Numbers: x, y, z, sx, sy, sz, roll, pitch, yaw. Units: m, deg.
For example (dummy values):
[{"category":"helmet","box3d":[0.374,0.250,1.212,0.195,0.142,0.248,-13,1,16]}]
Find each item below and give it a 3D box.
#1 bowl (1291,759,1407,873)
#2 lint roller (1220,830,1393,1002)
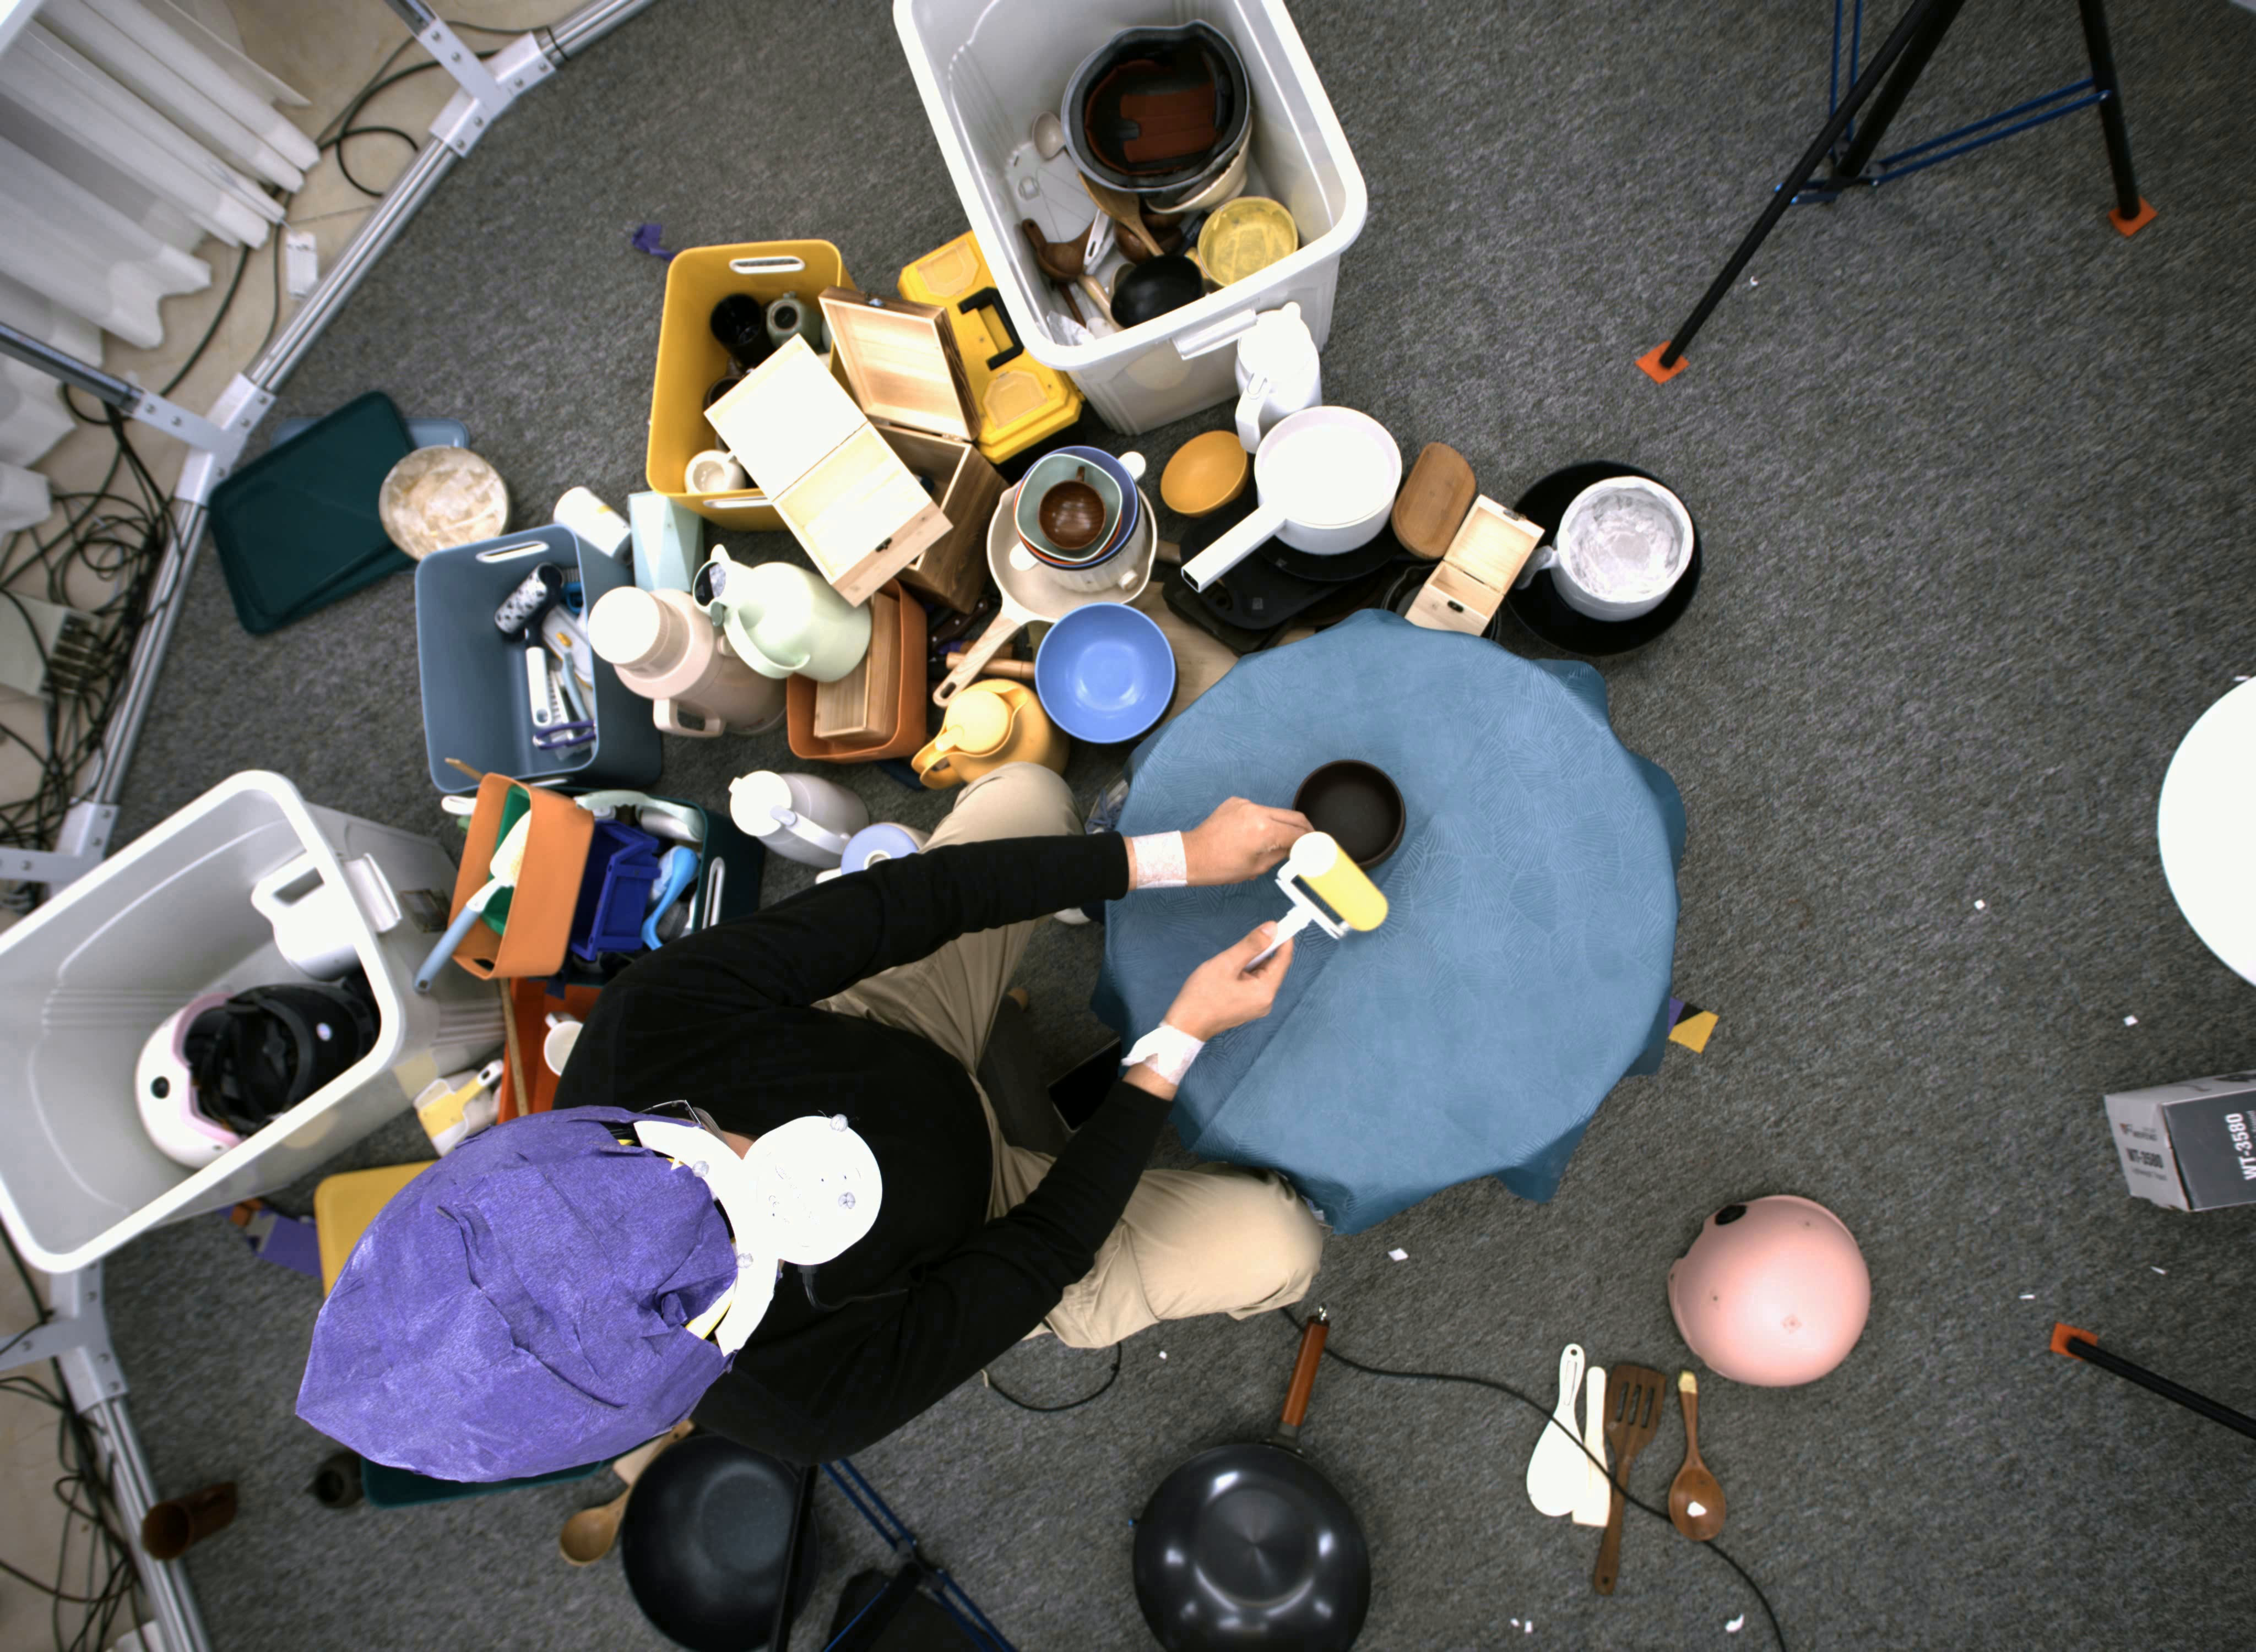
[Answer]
[{"category":"bowl","box3d":[0.230,-0.006,1.432,0.118,0.070,0.117,-3,78,13]},{"category":"lint roller","box3d":[0.169,0.109,1.379,0.192,0.176,0.051,-51,54,3]}]
